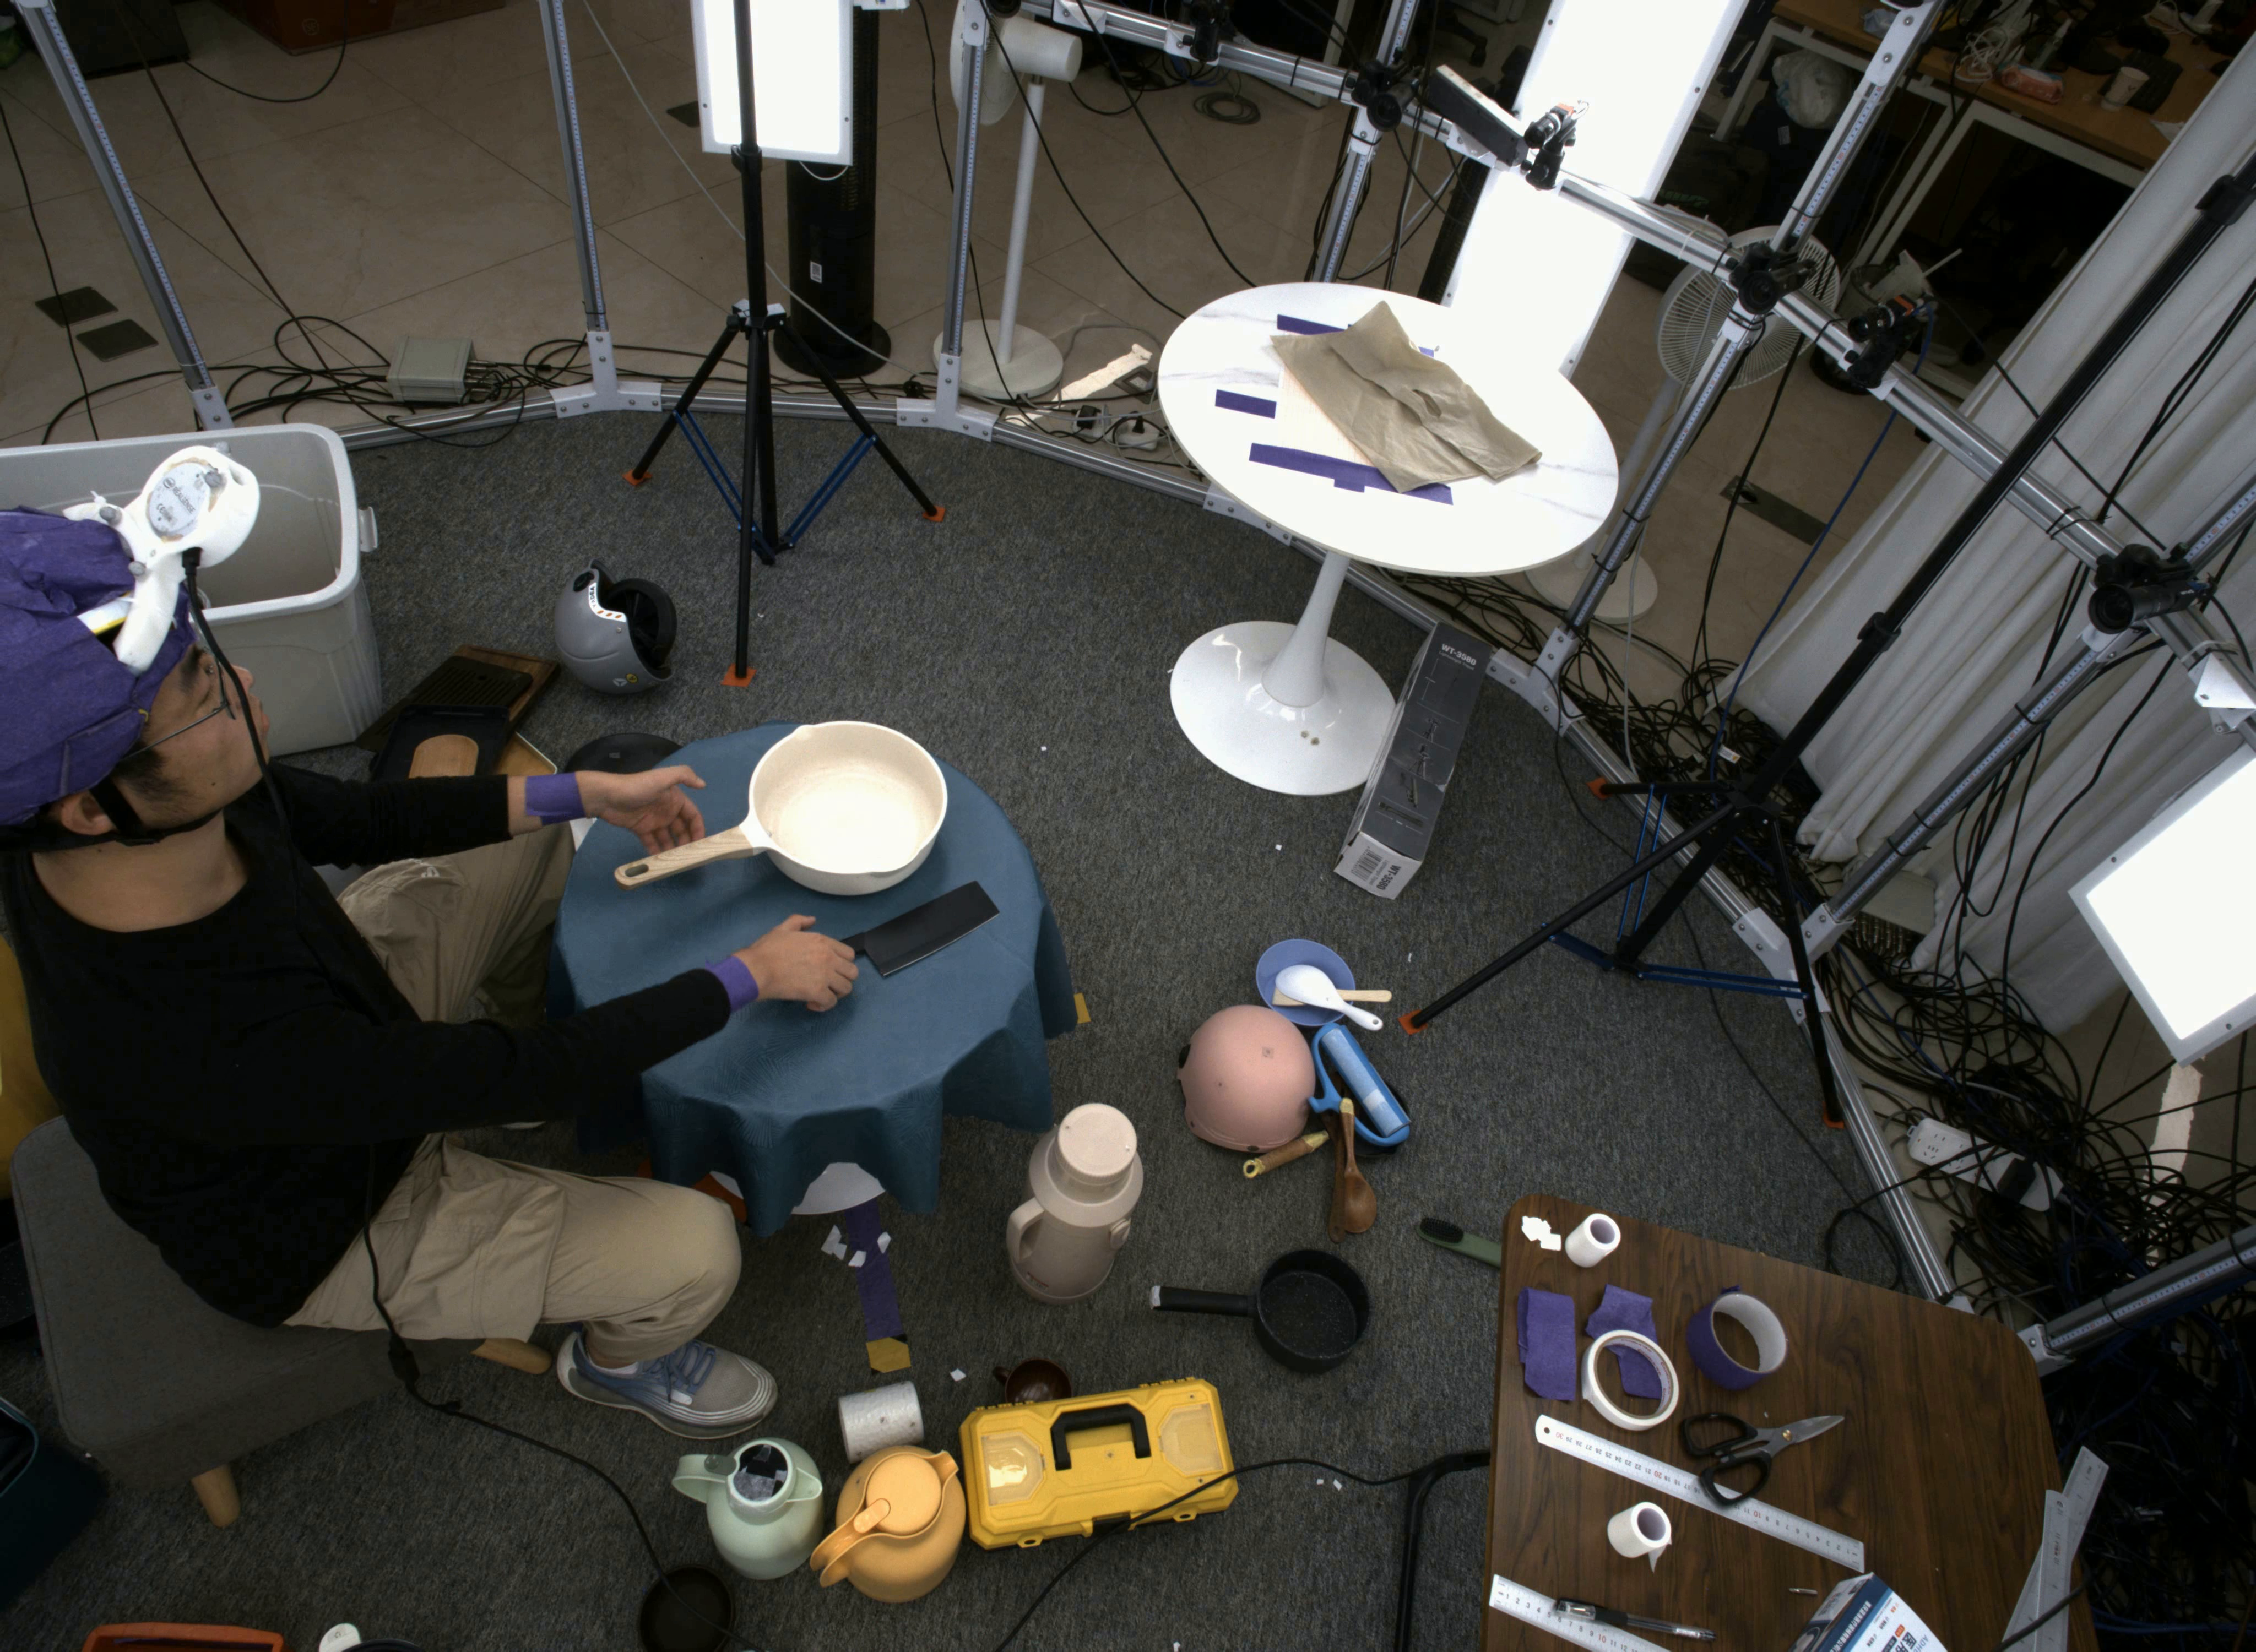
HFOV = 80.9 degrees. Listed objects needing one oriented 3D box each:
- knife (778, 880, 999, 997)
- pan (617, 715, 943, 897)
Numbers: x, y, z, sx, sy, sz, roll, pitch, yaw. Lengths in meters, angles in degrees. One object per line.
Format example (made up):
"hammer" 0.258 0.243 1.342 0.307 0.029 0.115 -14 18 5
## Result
"knife" -0.301 0.144 1.637 0.304 0.021 0.079 -21 62 -30
"pan" -0.440 0.009 1.647 0.437 0.104 0.257 -27 66 -30
